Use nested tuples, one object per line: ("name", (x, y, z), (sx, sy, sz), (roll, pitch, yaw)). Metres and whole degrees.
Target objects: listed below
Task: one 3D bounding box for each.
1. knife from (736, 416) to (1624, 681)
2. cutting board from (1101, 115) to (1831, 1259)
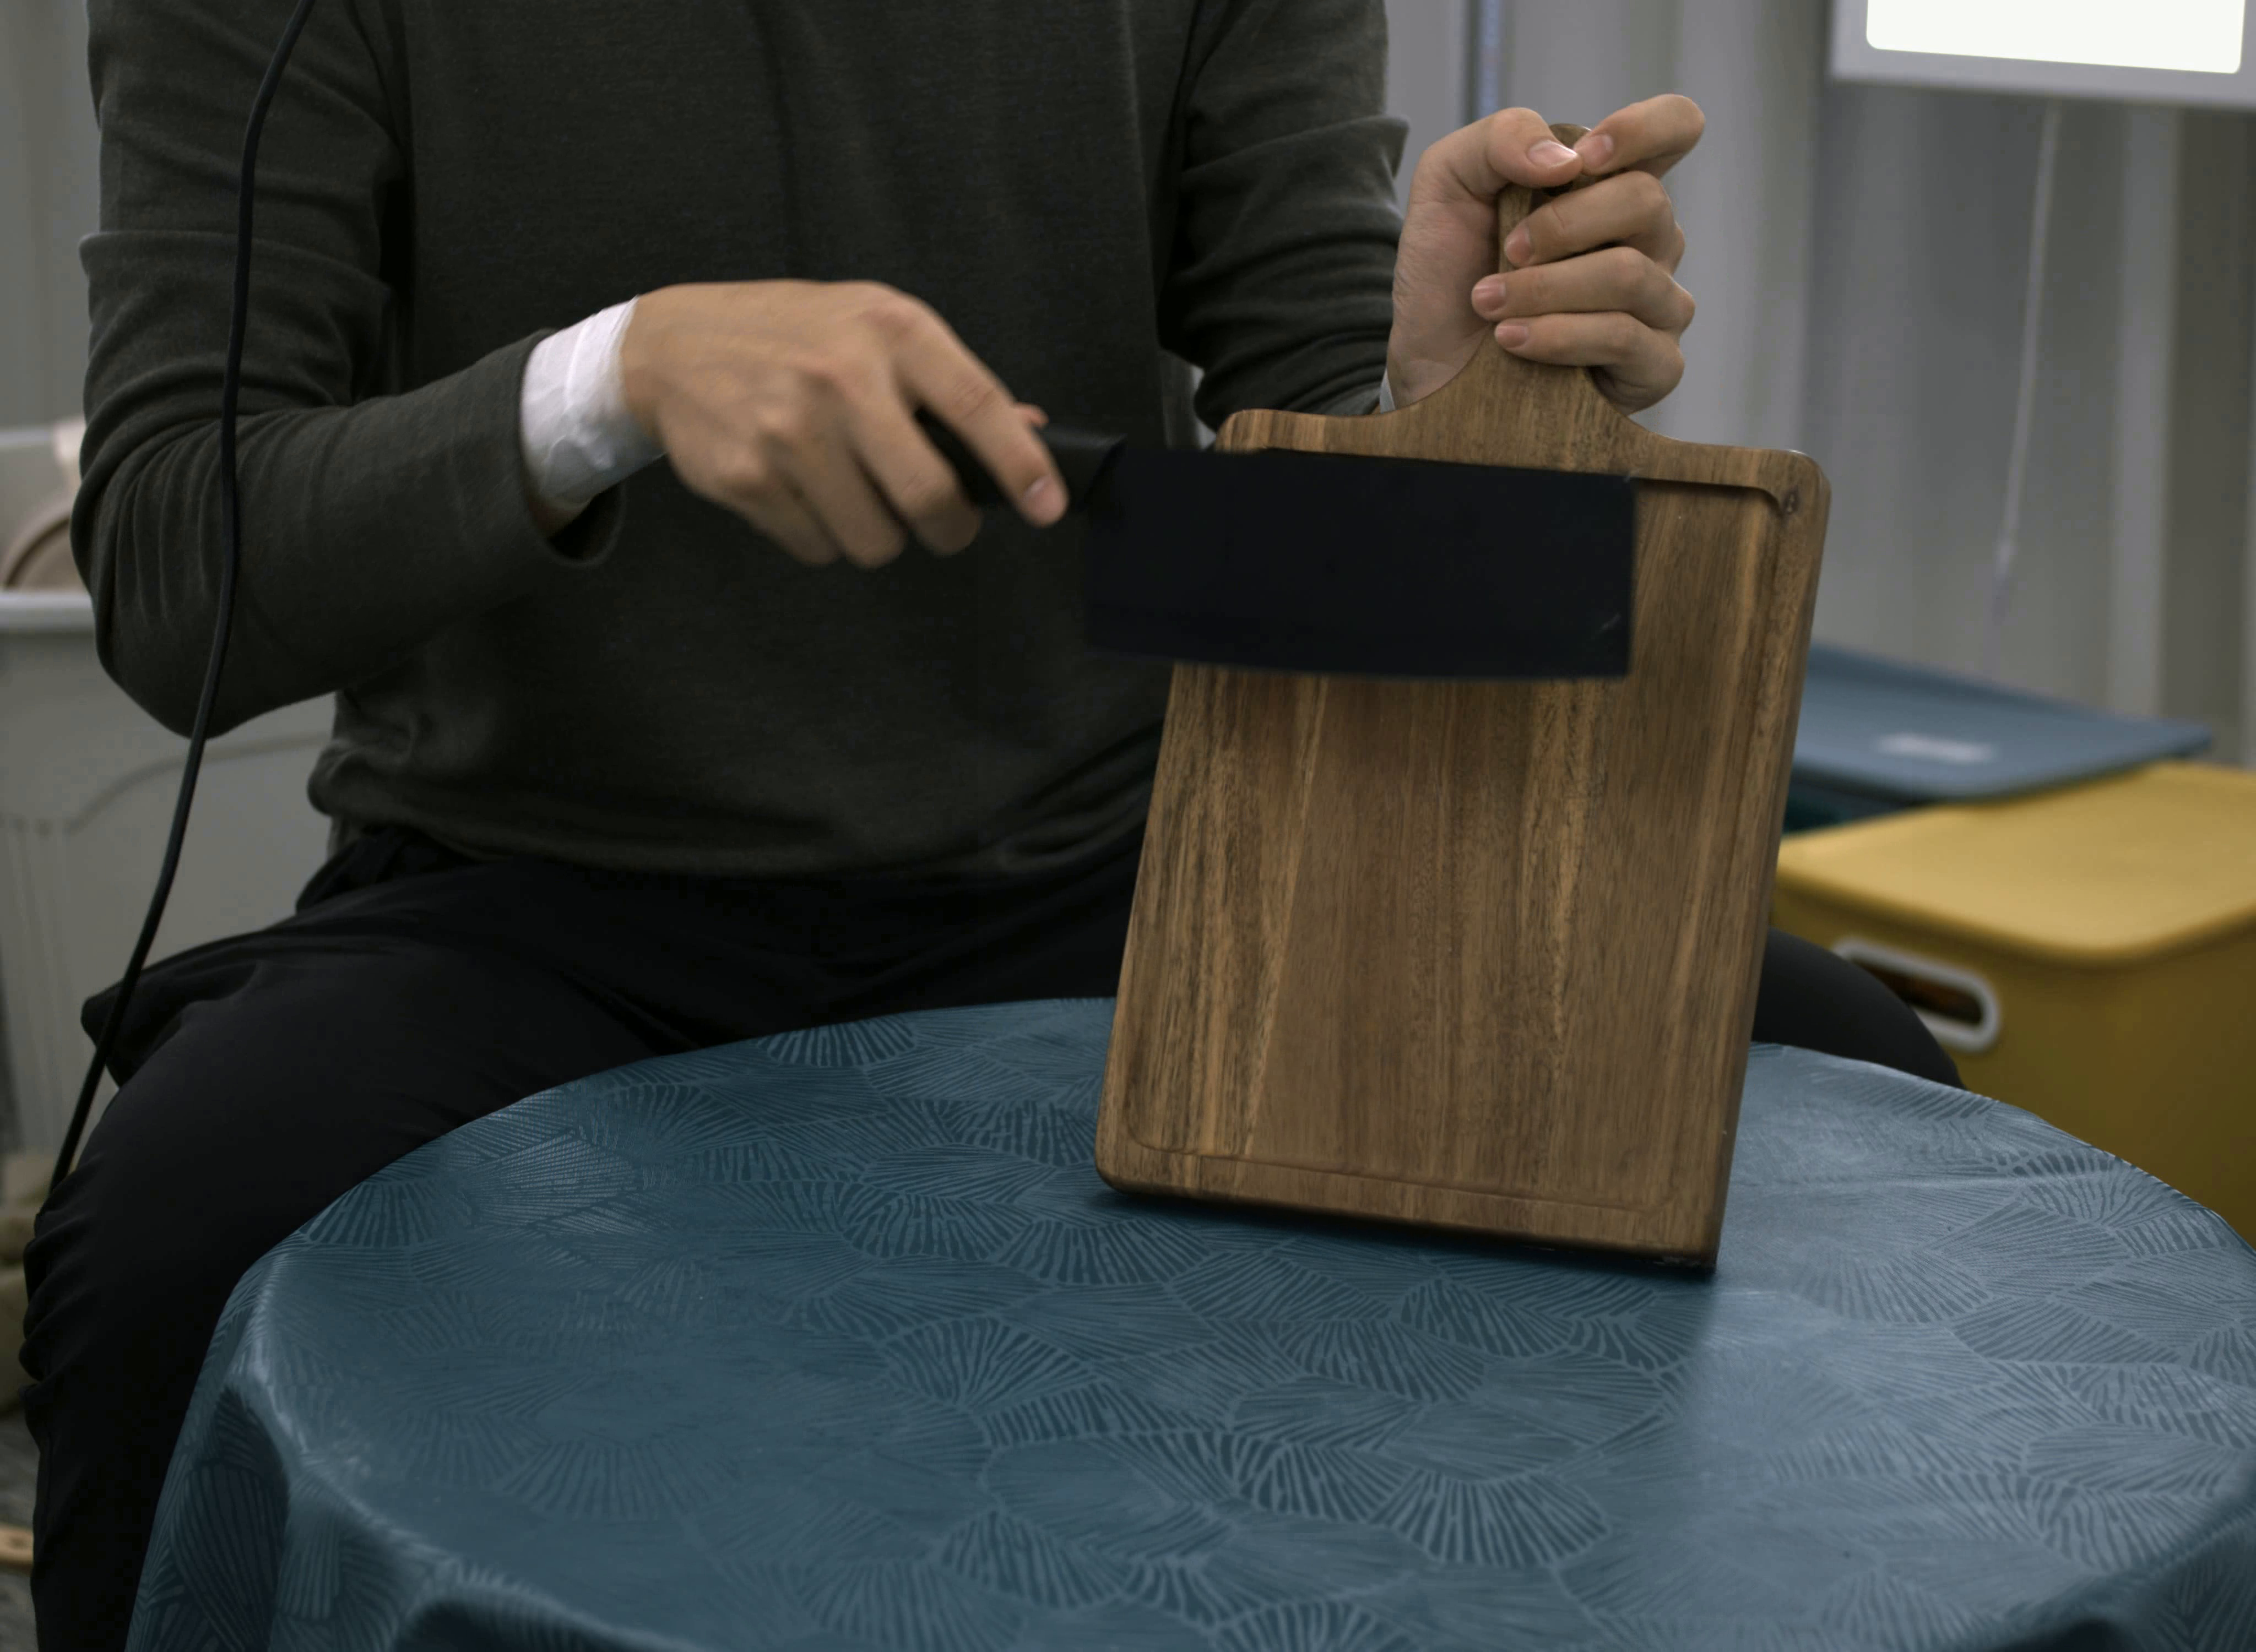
("knife", (0.012, -0.086, 1.593), (0.299, 0.081, 0.021), (10, 12, 26))
("cutting board", (0.110, -0.049, 1.615), (0.199, 0.352, 0.023), (6, -11, 19))
